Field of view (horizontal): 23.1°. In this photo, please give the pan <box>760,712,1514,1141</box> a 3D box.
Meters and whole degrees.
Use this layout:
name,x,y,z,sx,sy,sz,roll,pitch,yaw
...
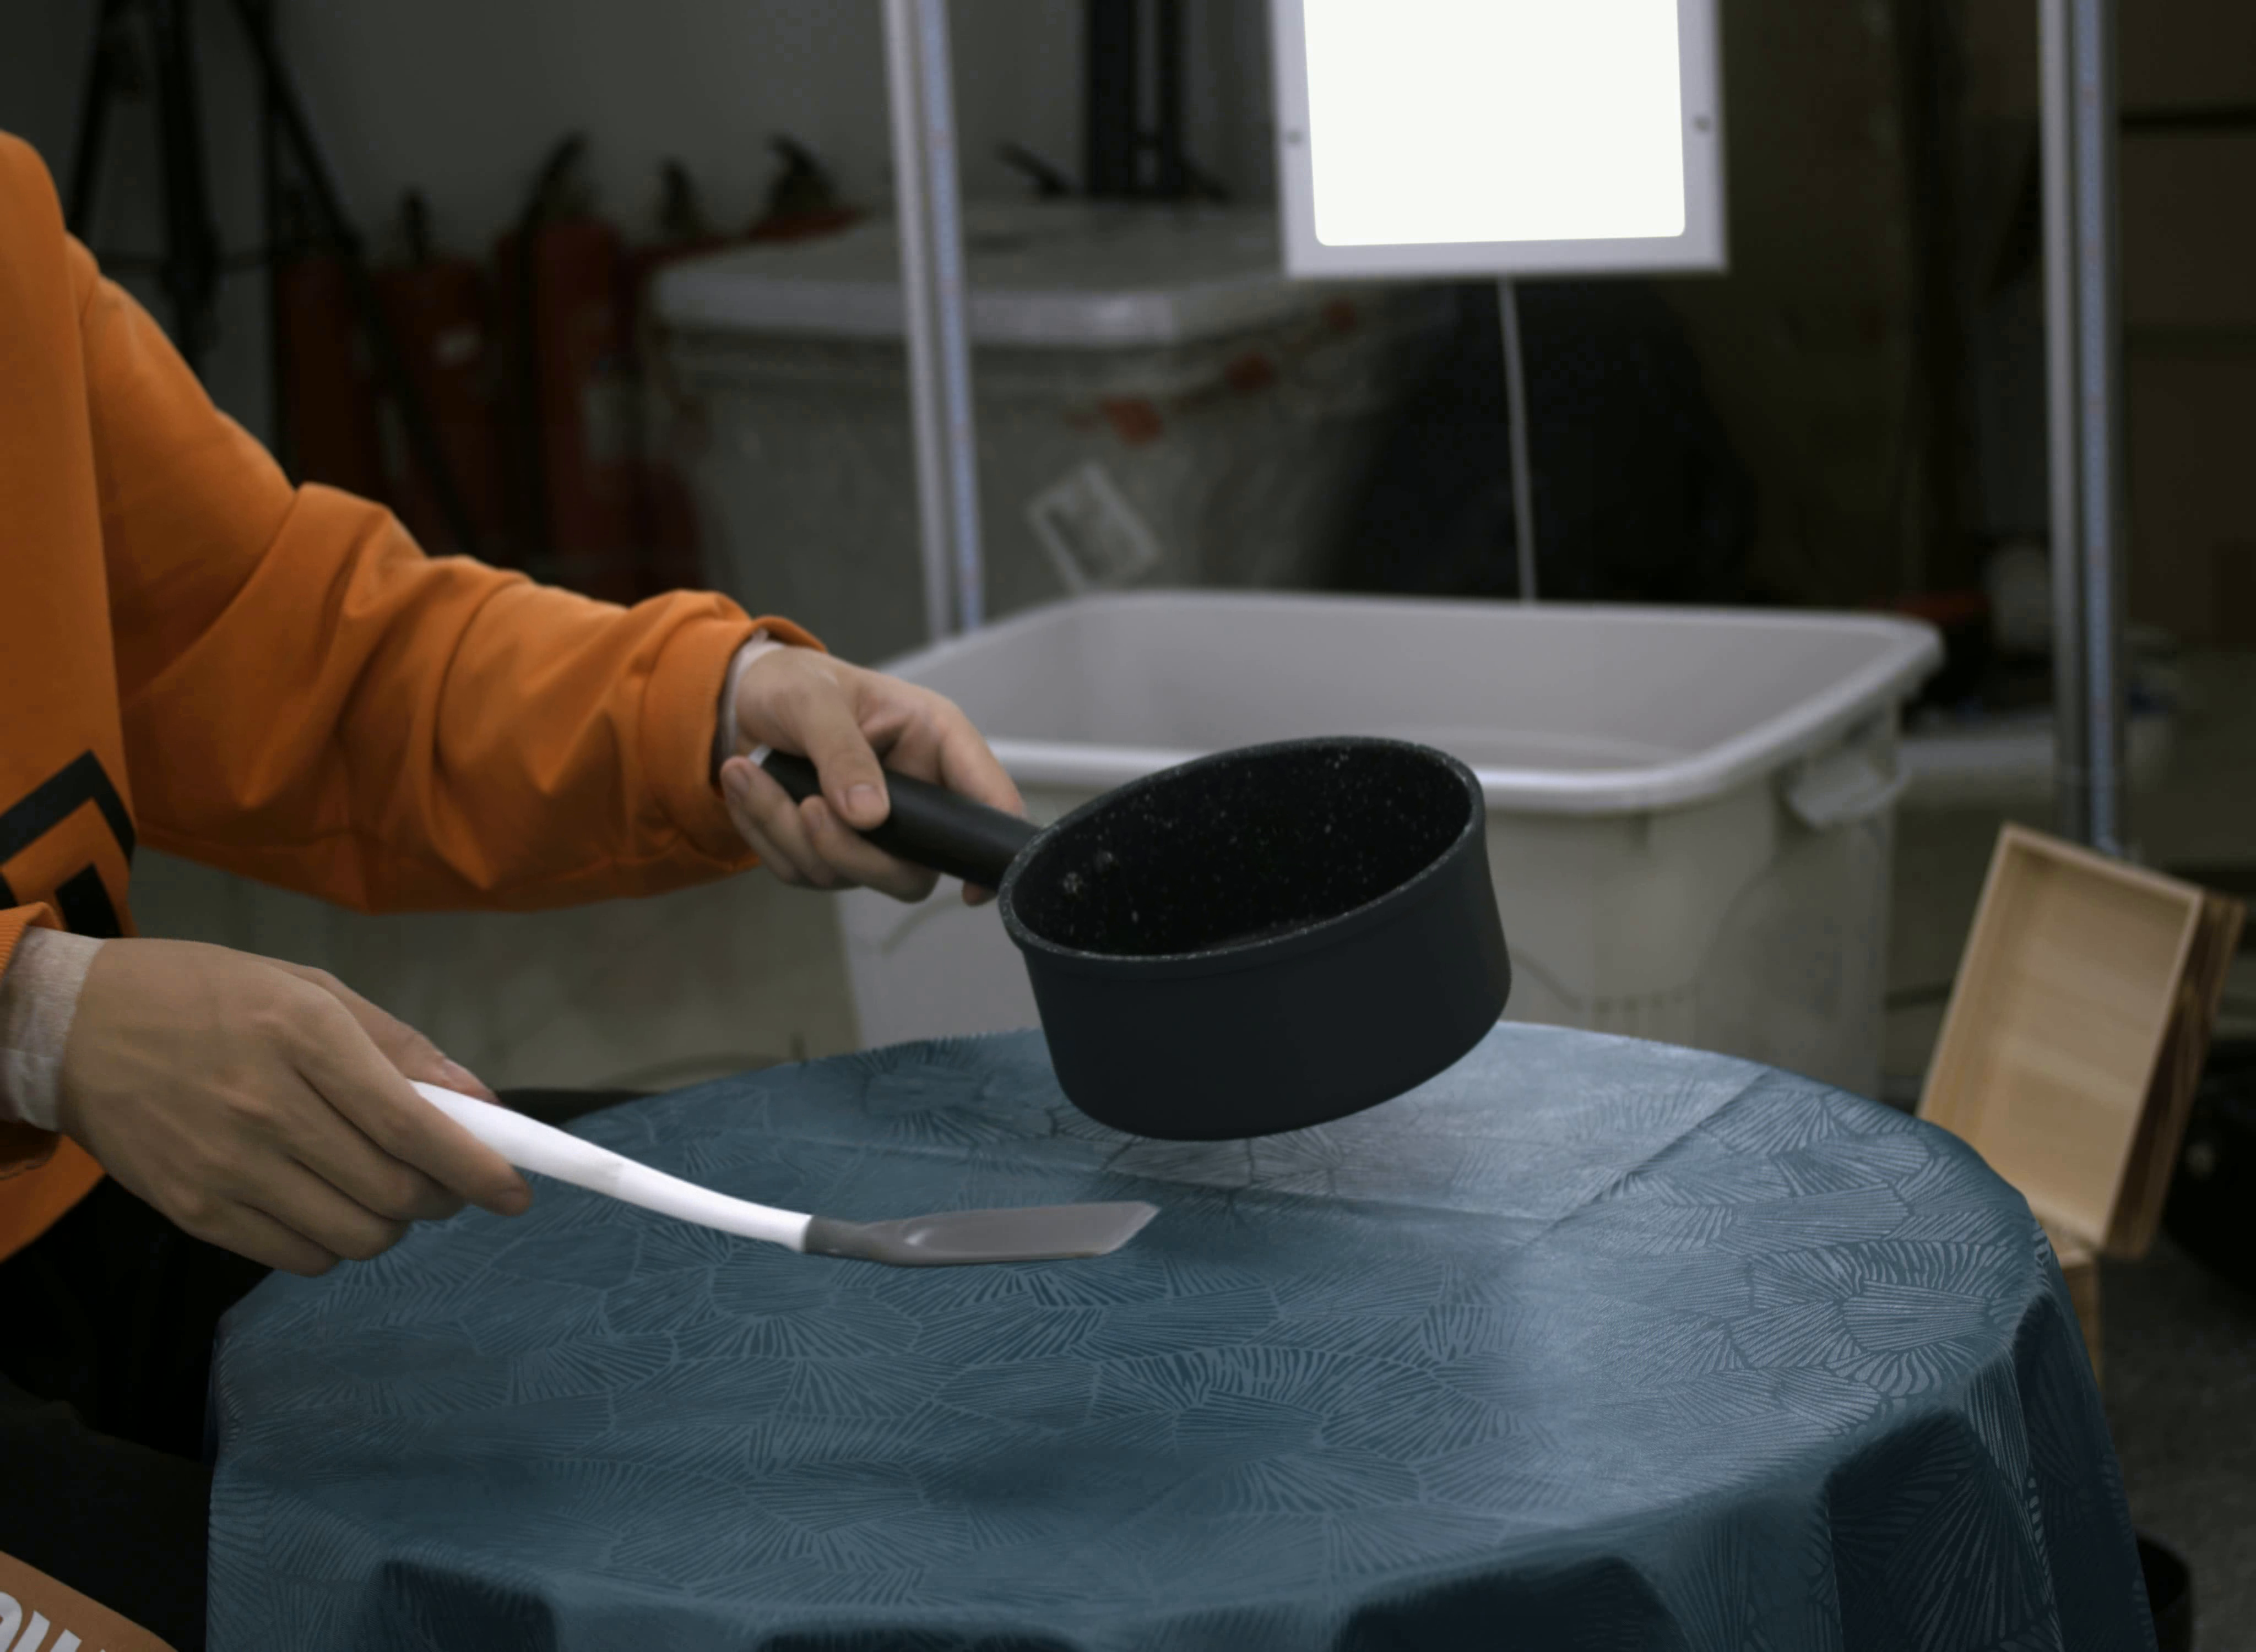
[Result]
name,x,y,z,sx,sy,sz,roll,pitch,yaw
pan,-0.009,0.024,1.957,0.168,0.086,0.336,-32,29,-35

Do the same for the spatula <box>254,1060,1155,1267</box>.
name,x,y,z,sx,sy,sz,roll,pitch,yaw
spatula,-0.132,0.108,1.678,0.291,0.032,0.057,8,10,21
